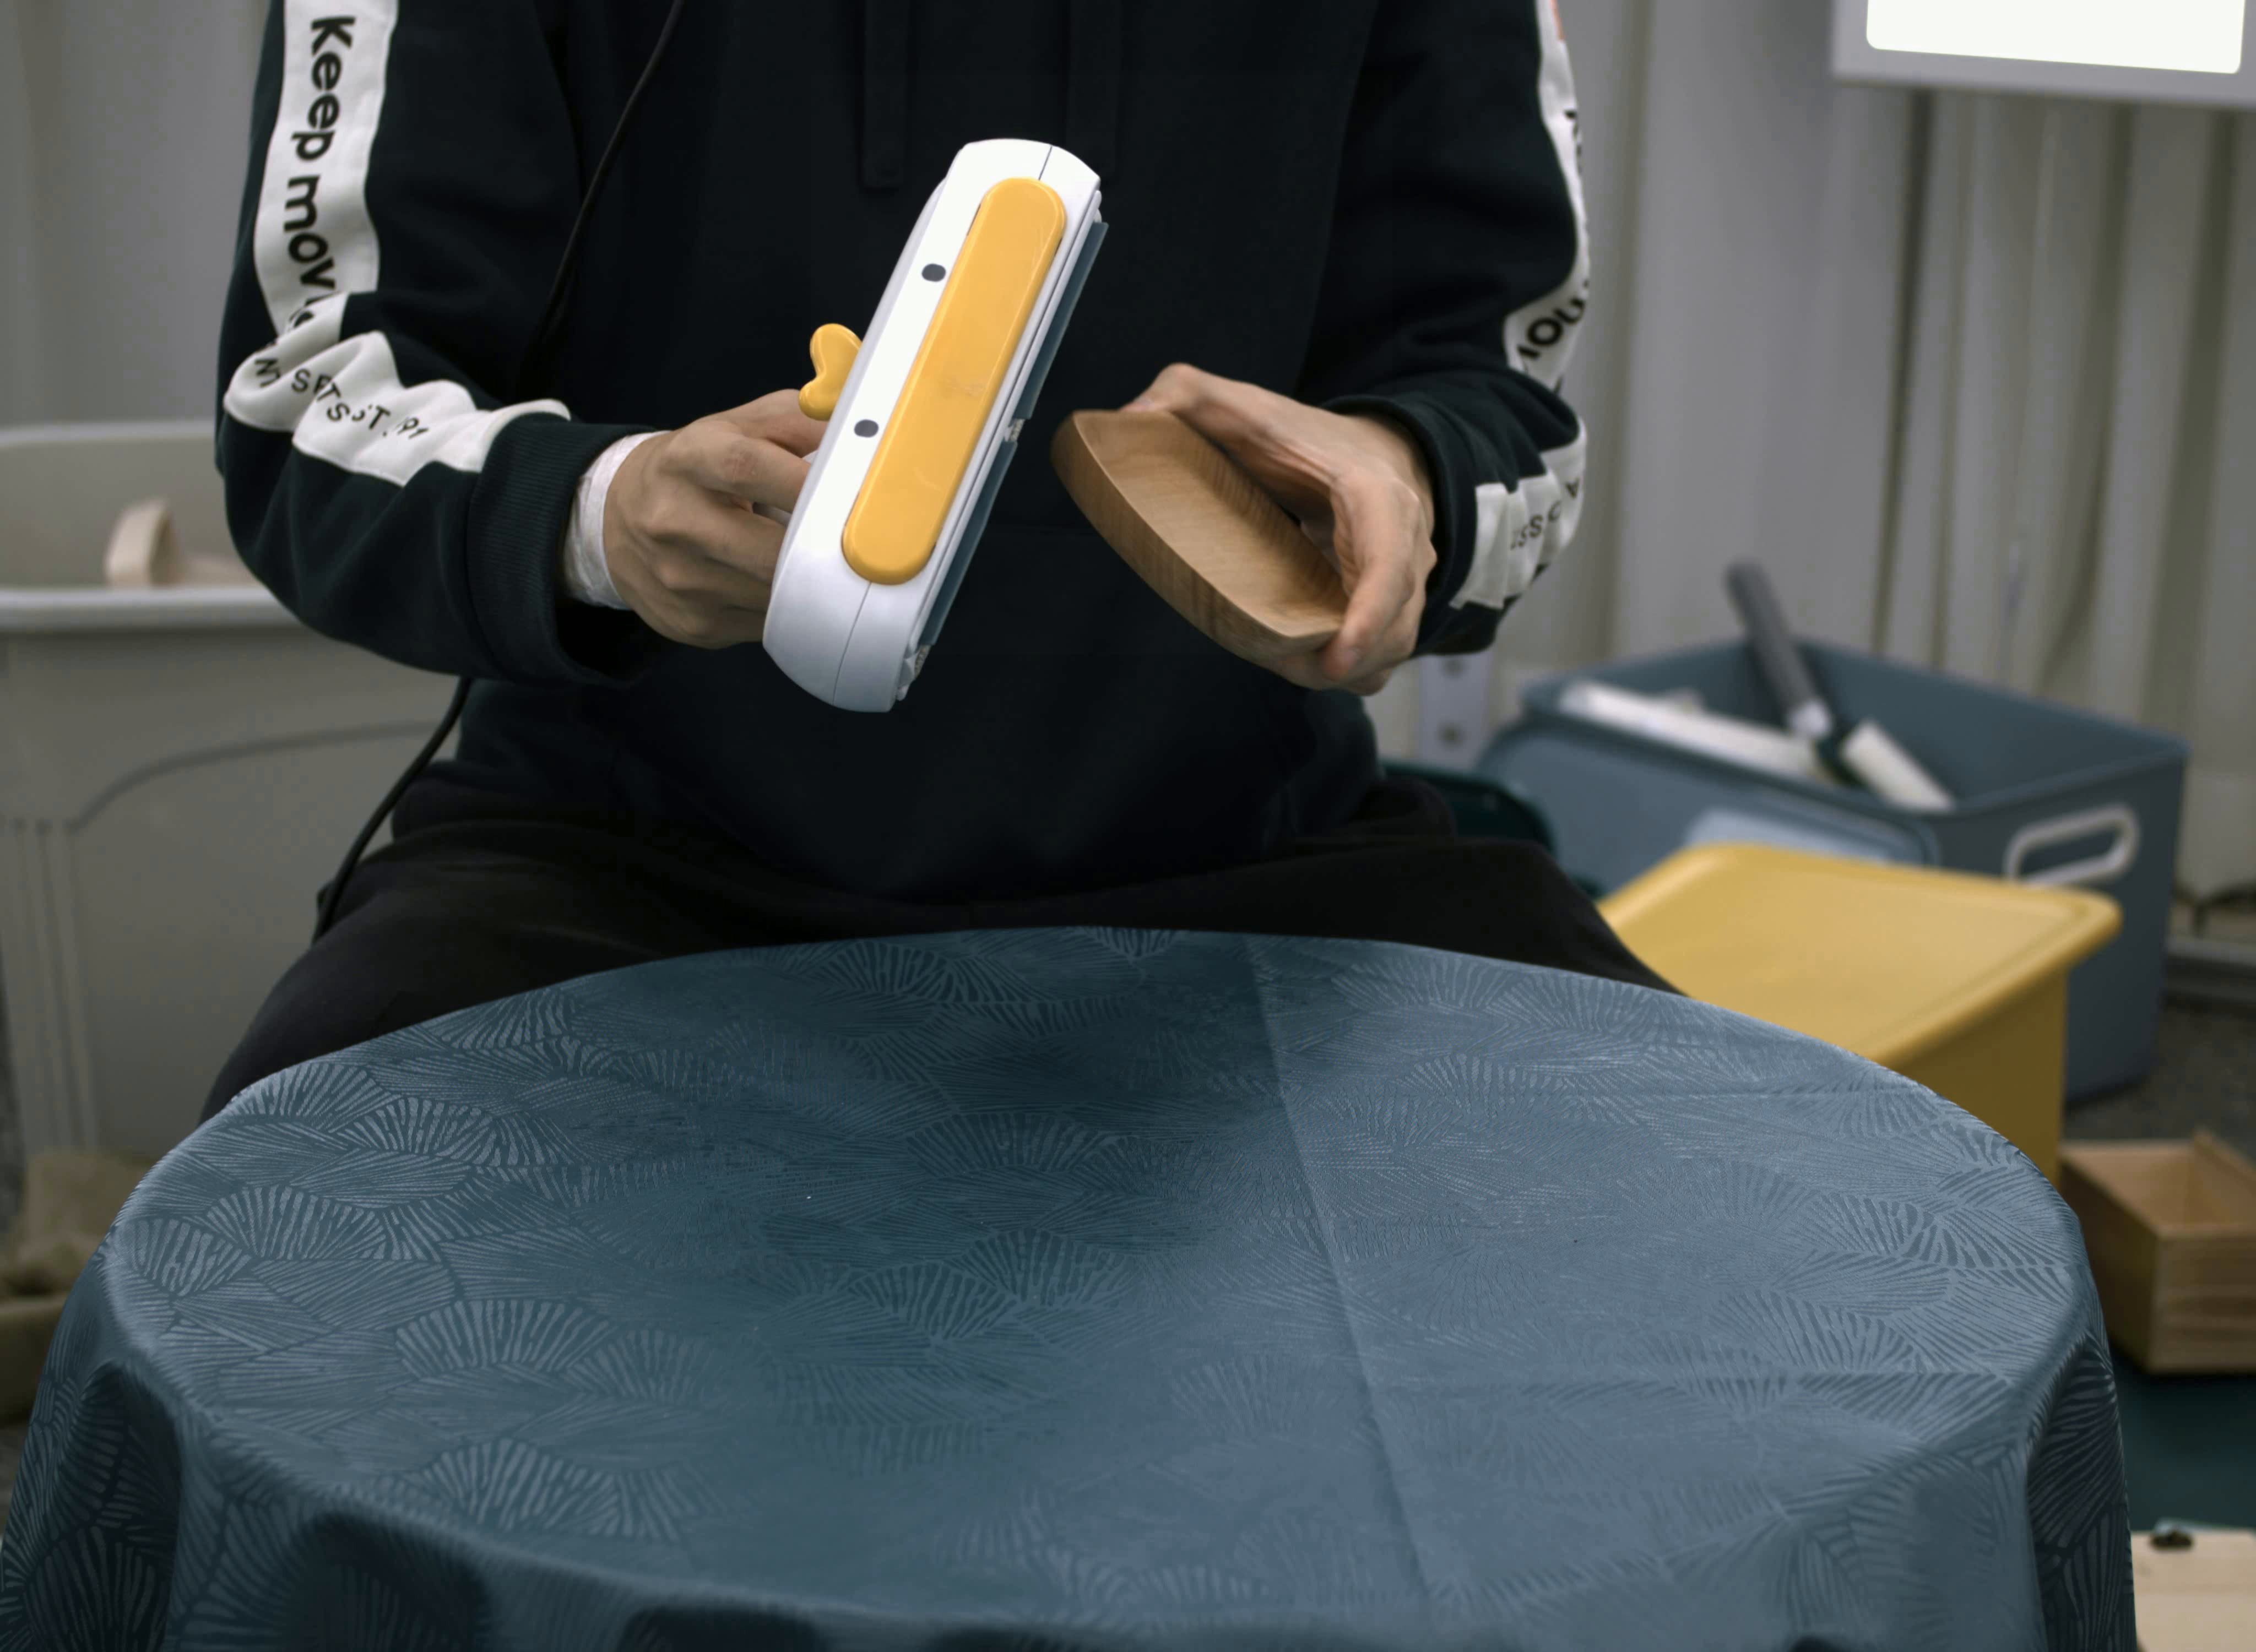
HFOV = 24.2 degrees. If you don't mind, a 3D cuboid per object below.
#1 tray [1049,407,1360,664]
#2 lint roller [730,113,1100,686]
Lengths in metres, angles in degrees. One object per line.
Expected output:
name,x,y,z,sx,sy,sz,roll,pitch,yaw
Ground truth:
tray,0.026,-0.094,1.714,0.101,0.020,0.231,47,12,5
lint roller,-0.079,-0.113,1.668,0.074,0.192,0.193,19,-26,-8
